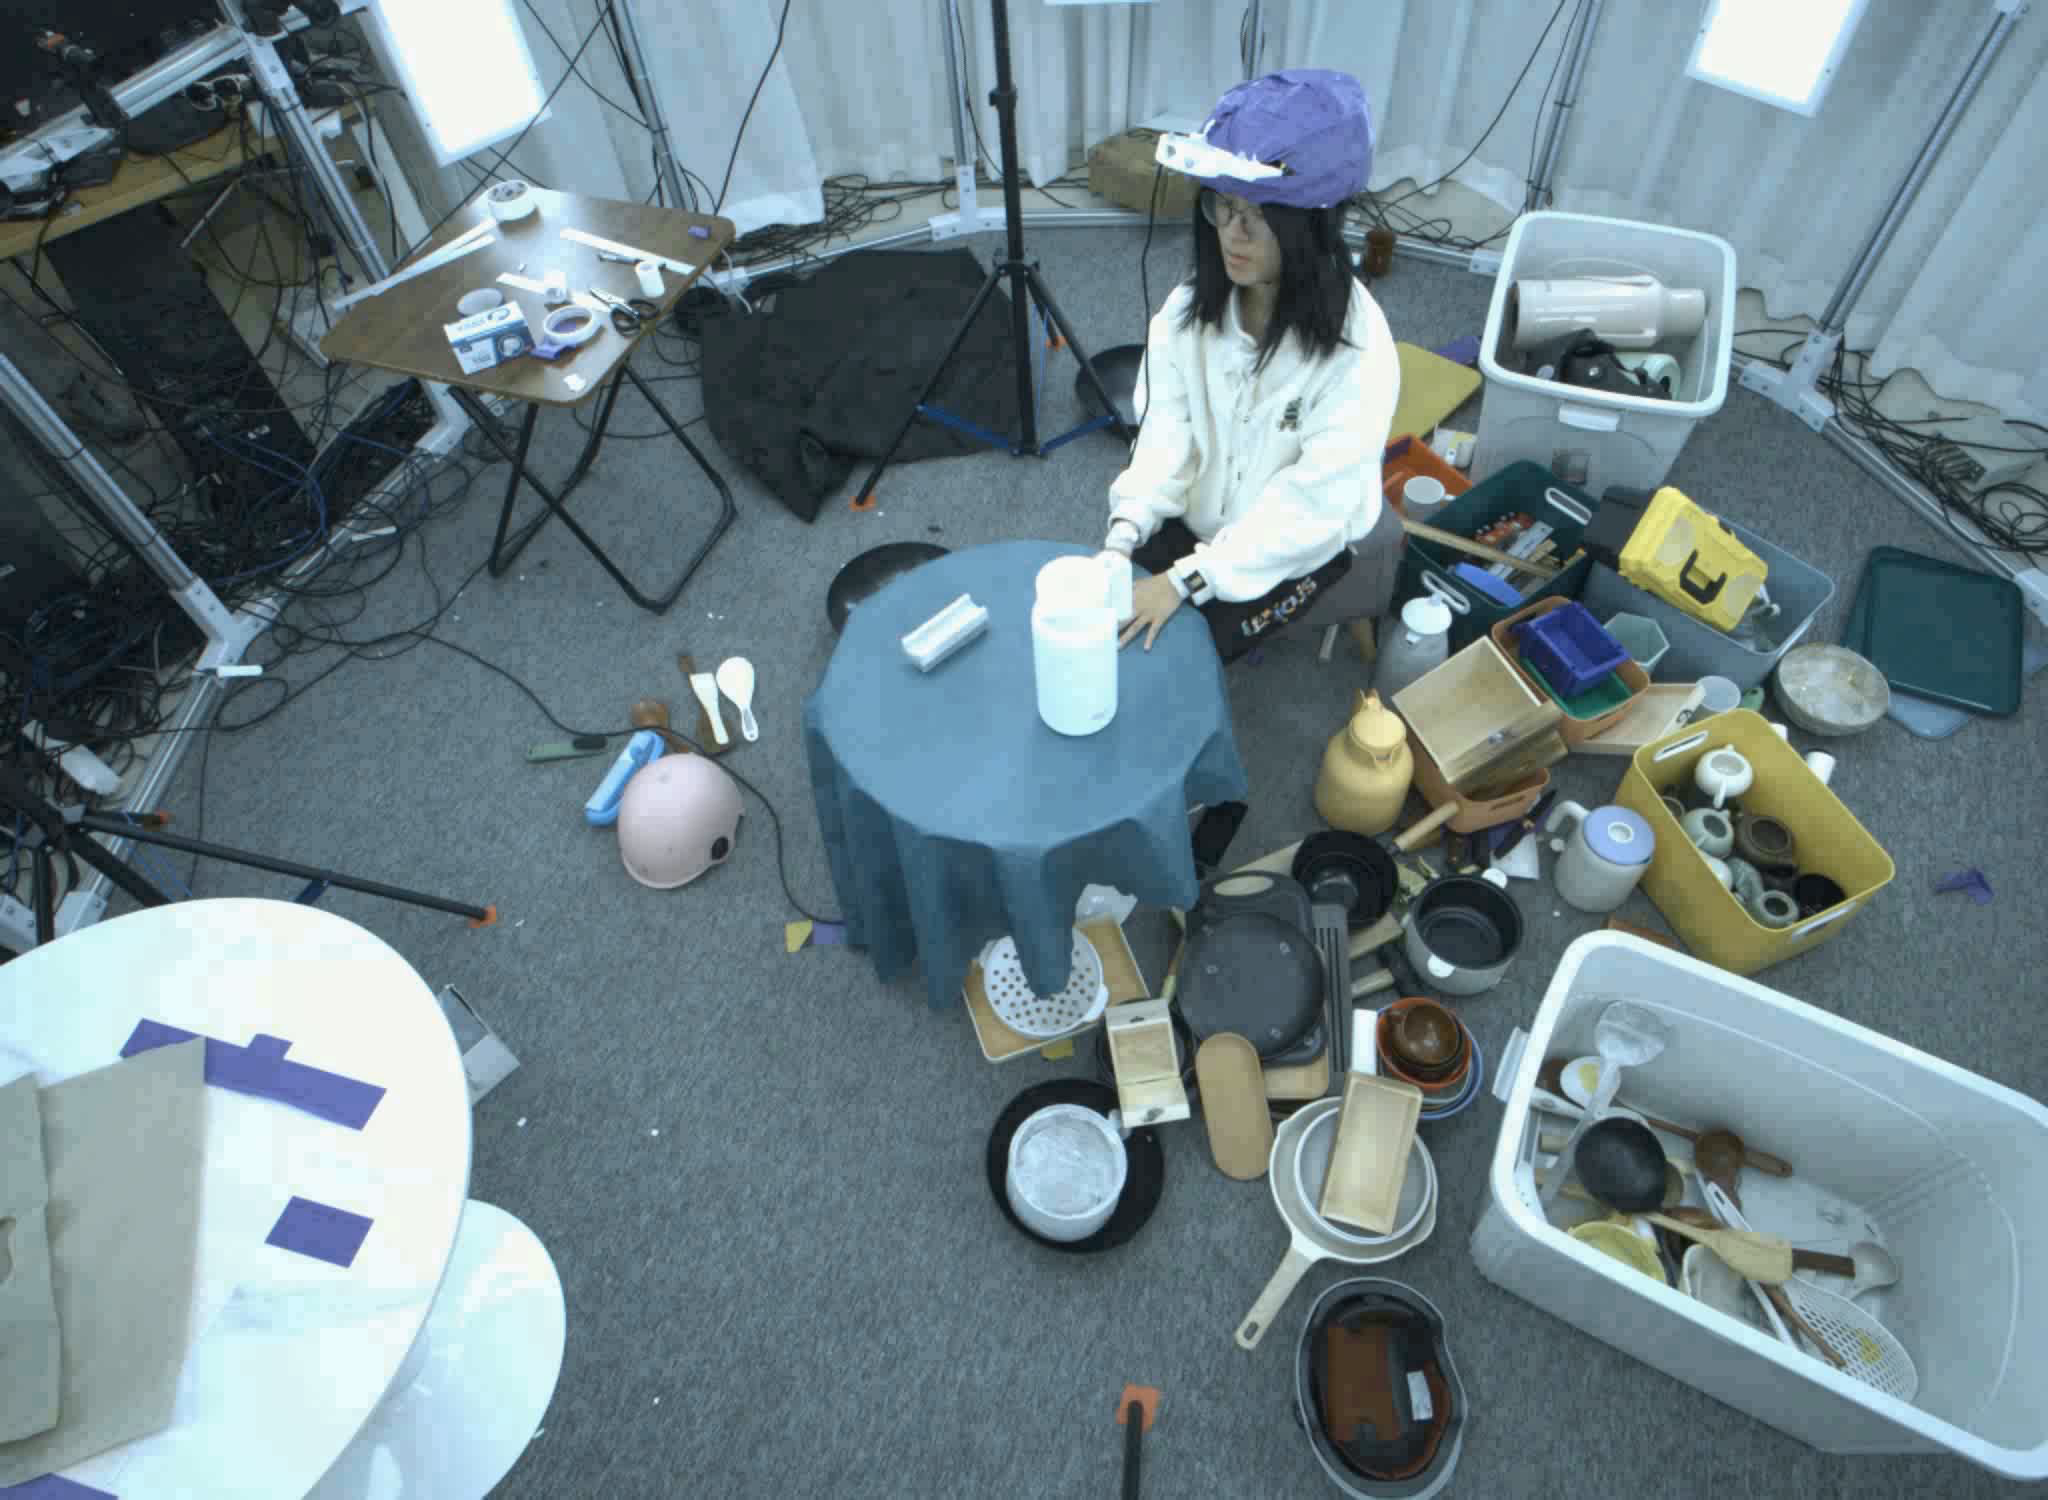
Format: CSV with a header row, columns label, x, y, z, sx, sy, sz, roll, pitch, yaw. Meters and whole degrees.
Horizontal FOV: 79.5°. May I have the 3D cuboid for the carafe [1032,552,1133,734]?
label,x,y,z,sx,sy,sz,roll,pitch,yaw
carafe,0.084,-0.154,1.730,0.121,0.272,0.174,36,64,27

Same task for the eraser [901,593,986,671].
label,x,y,z,sx,sy,sz,roll,pitch,yaw
eraser,-0.123,-0.181,1.892,0.049,0.047,0.135,36,63,28
